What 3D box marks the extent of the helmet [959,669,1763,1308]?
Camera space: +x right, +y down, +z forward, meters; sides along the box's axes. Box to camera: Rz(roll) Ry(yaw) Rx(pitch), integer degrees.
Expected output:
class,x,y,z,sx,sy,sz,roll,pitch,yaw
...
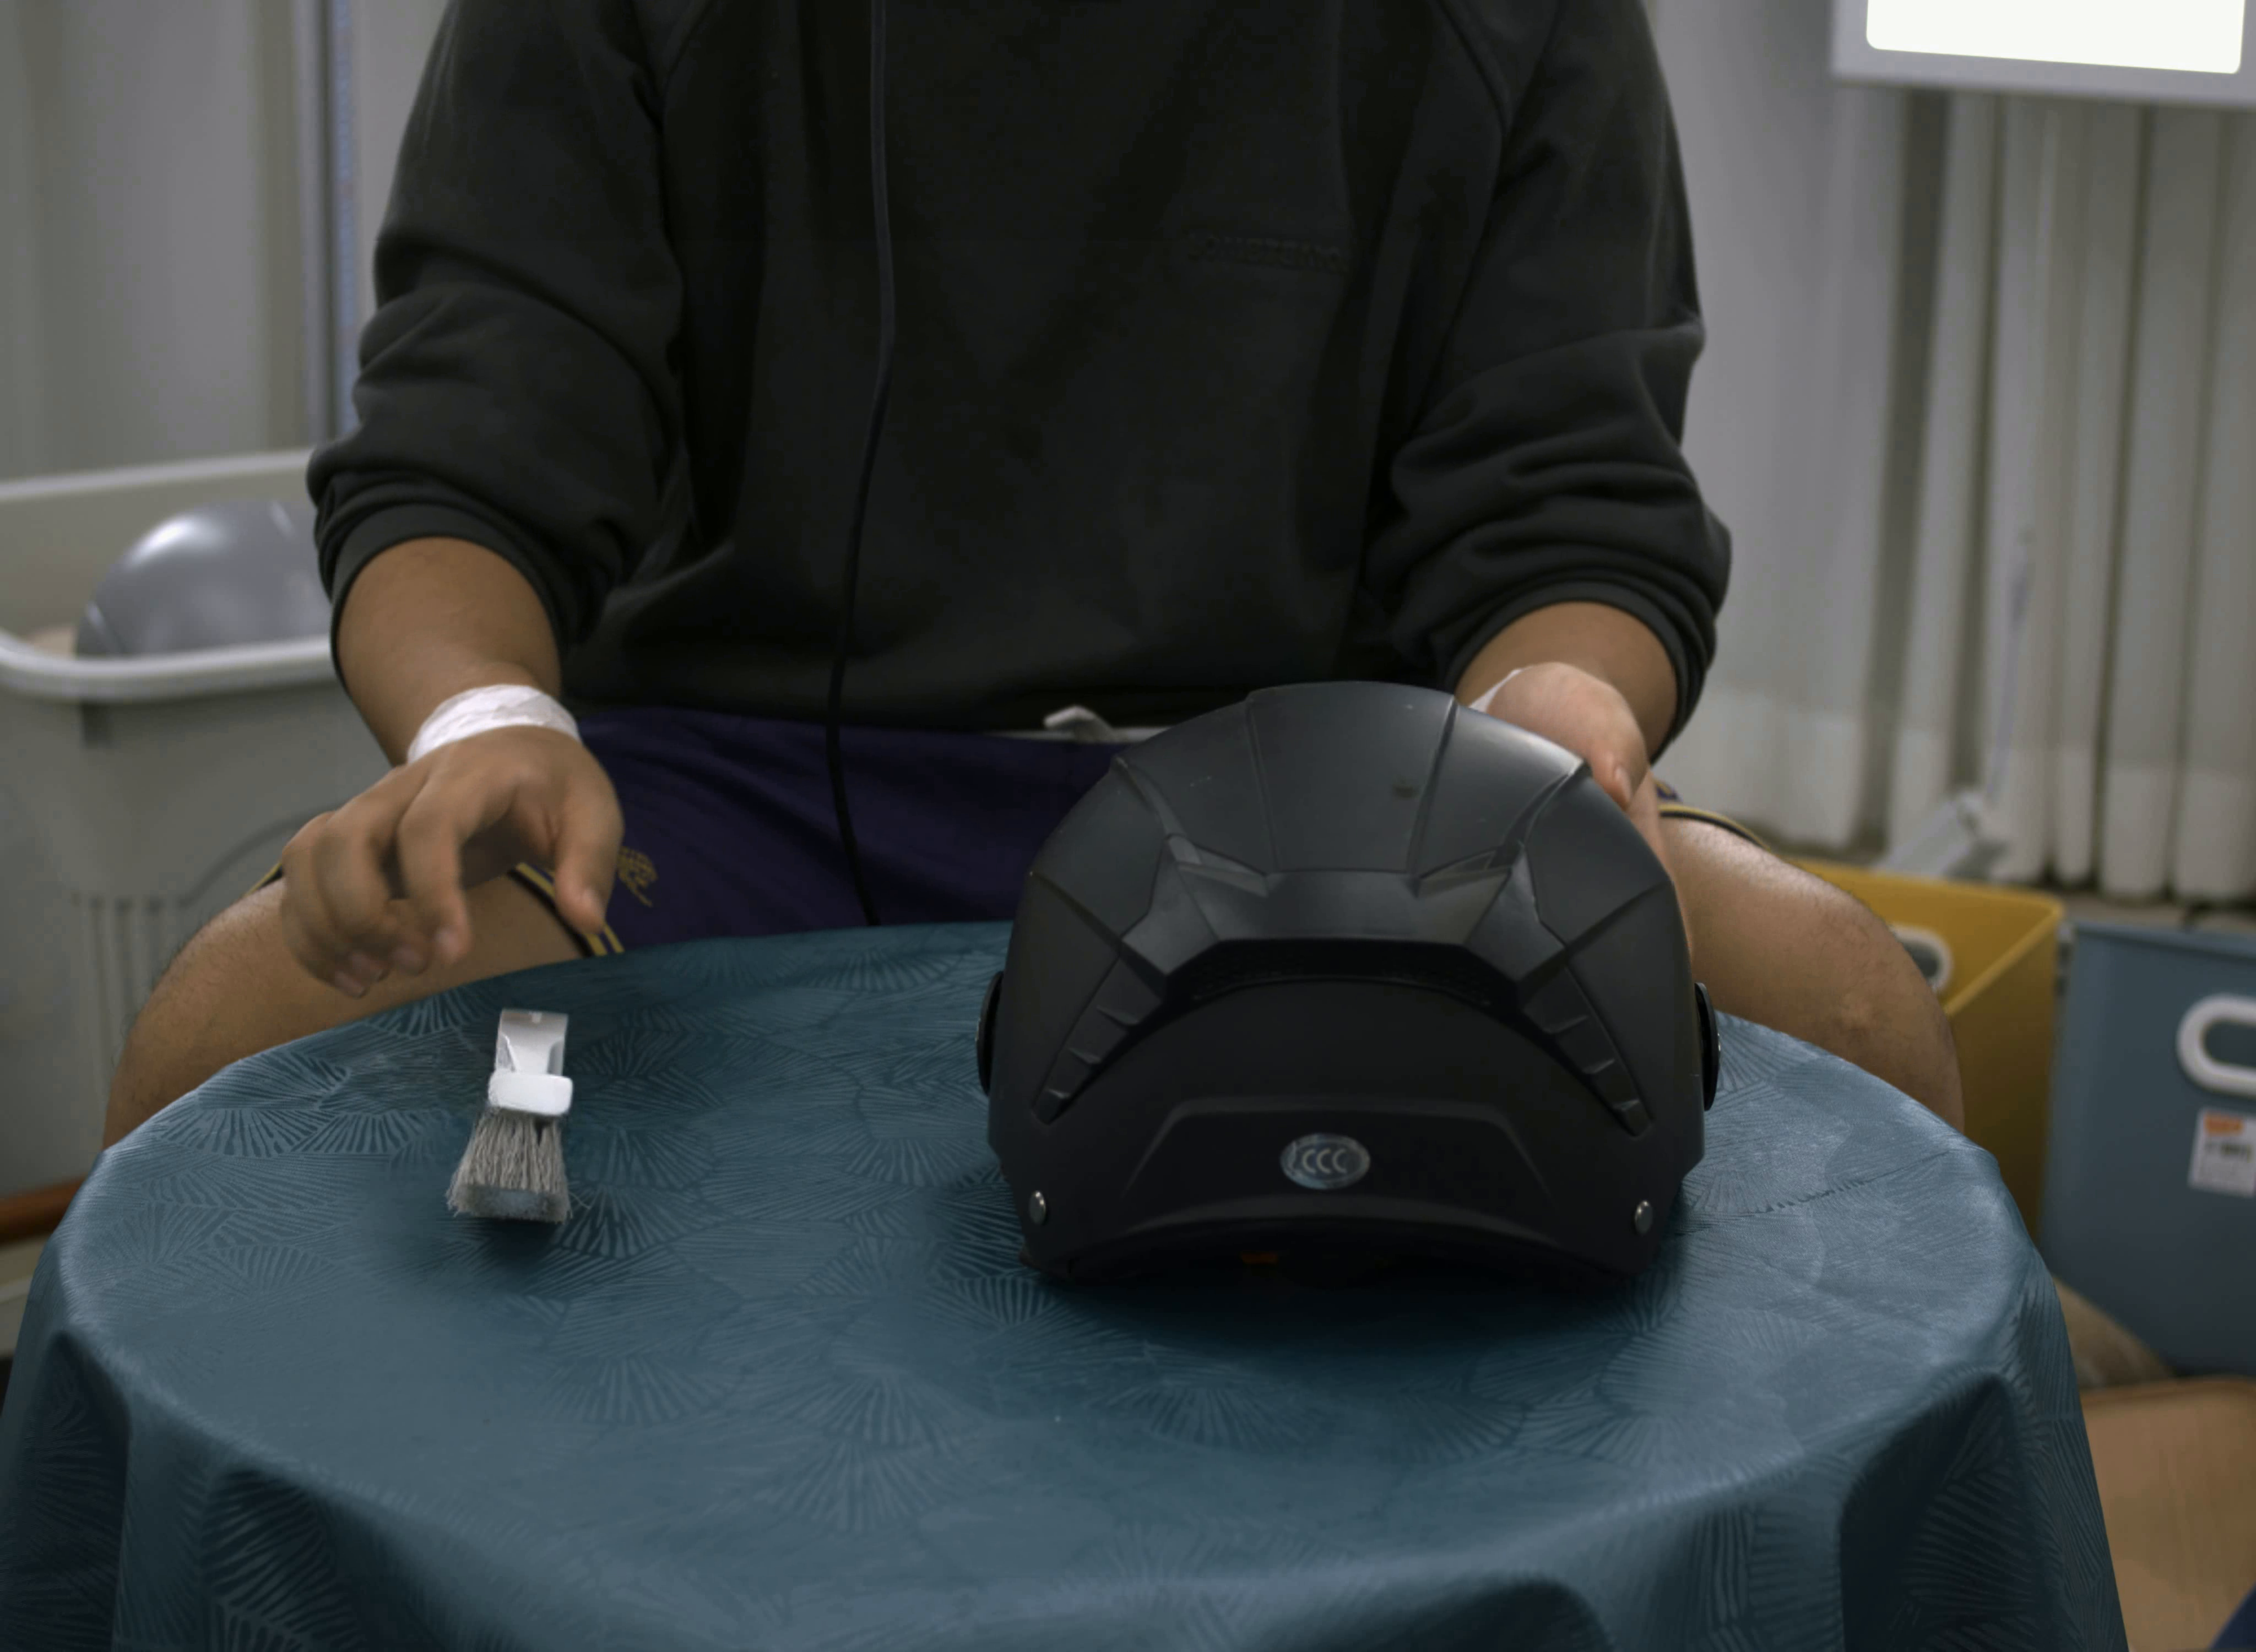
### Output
class,x,y,z,sx,sy,sz,roll,pitch,yaw
helmet,0.070,0.039,1.591,0.245,0.174,0.275,2,18,4

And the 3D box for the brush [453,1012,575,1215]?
class,x,y,z,sx,sy,sz,roll,pitch,yaw
brush,-0.192,0.090,1.654,0.034,0.050,0.243,6,2,-6
